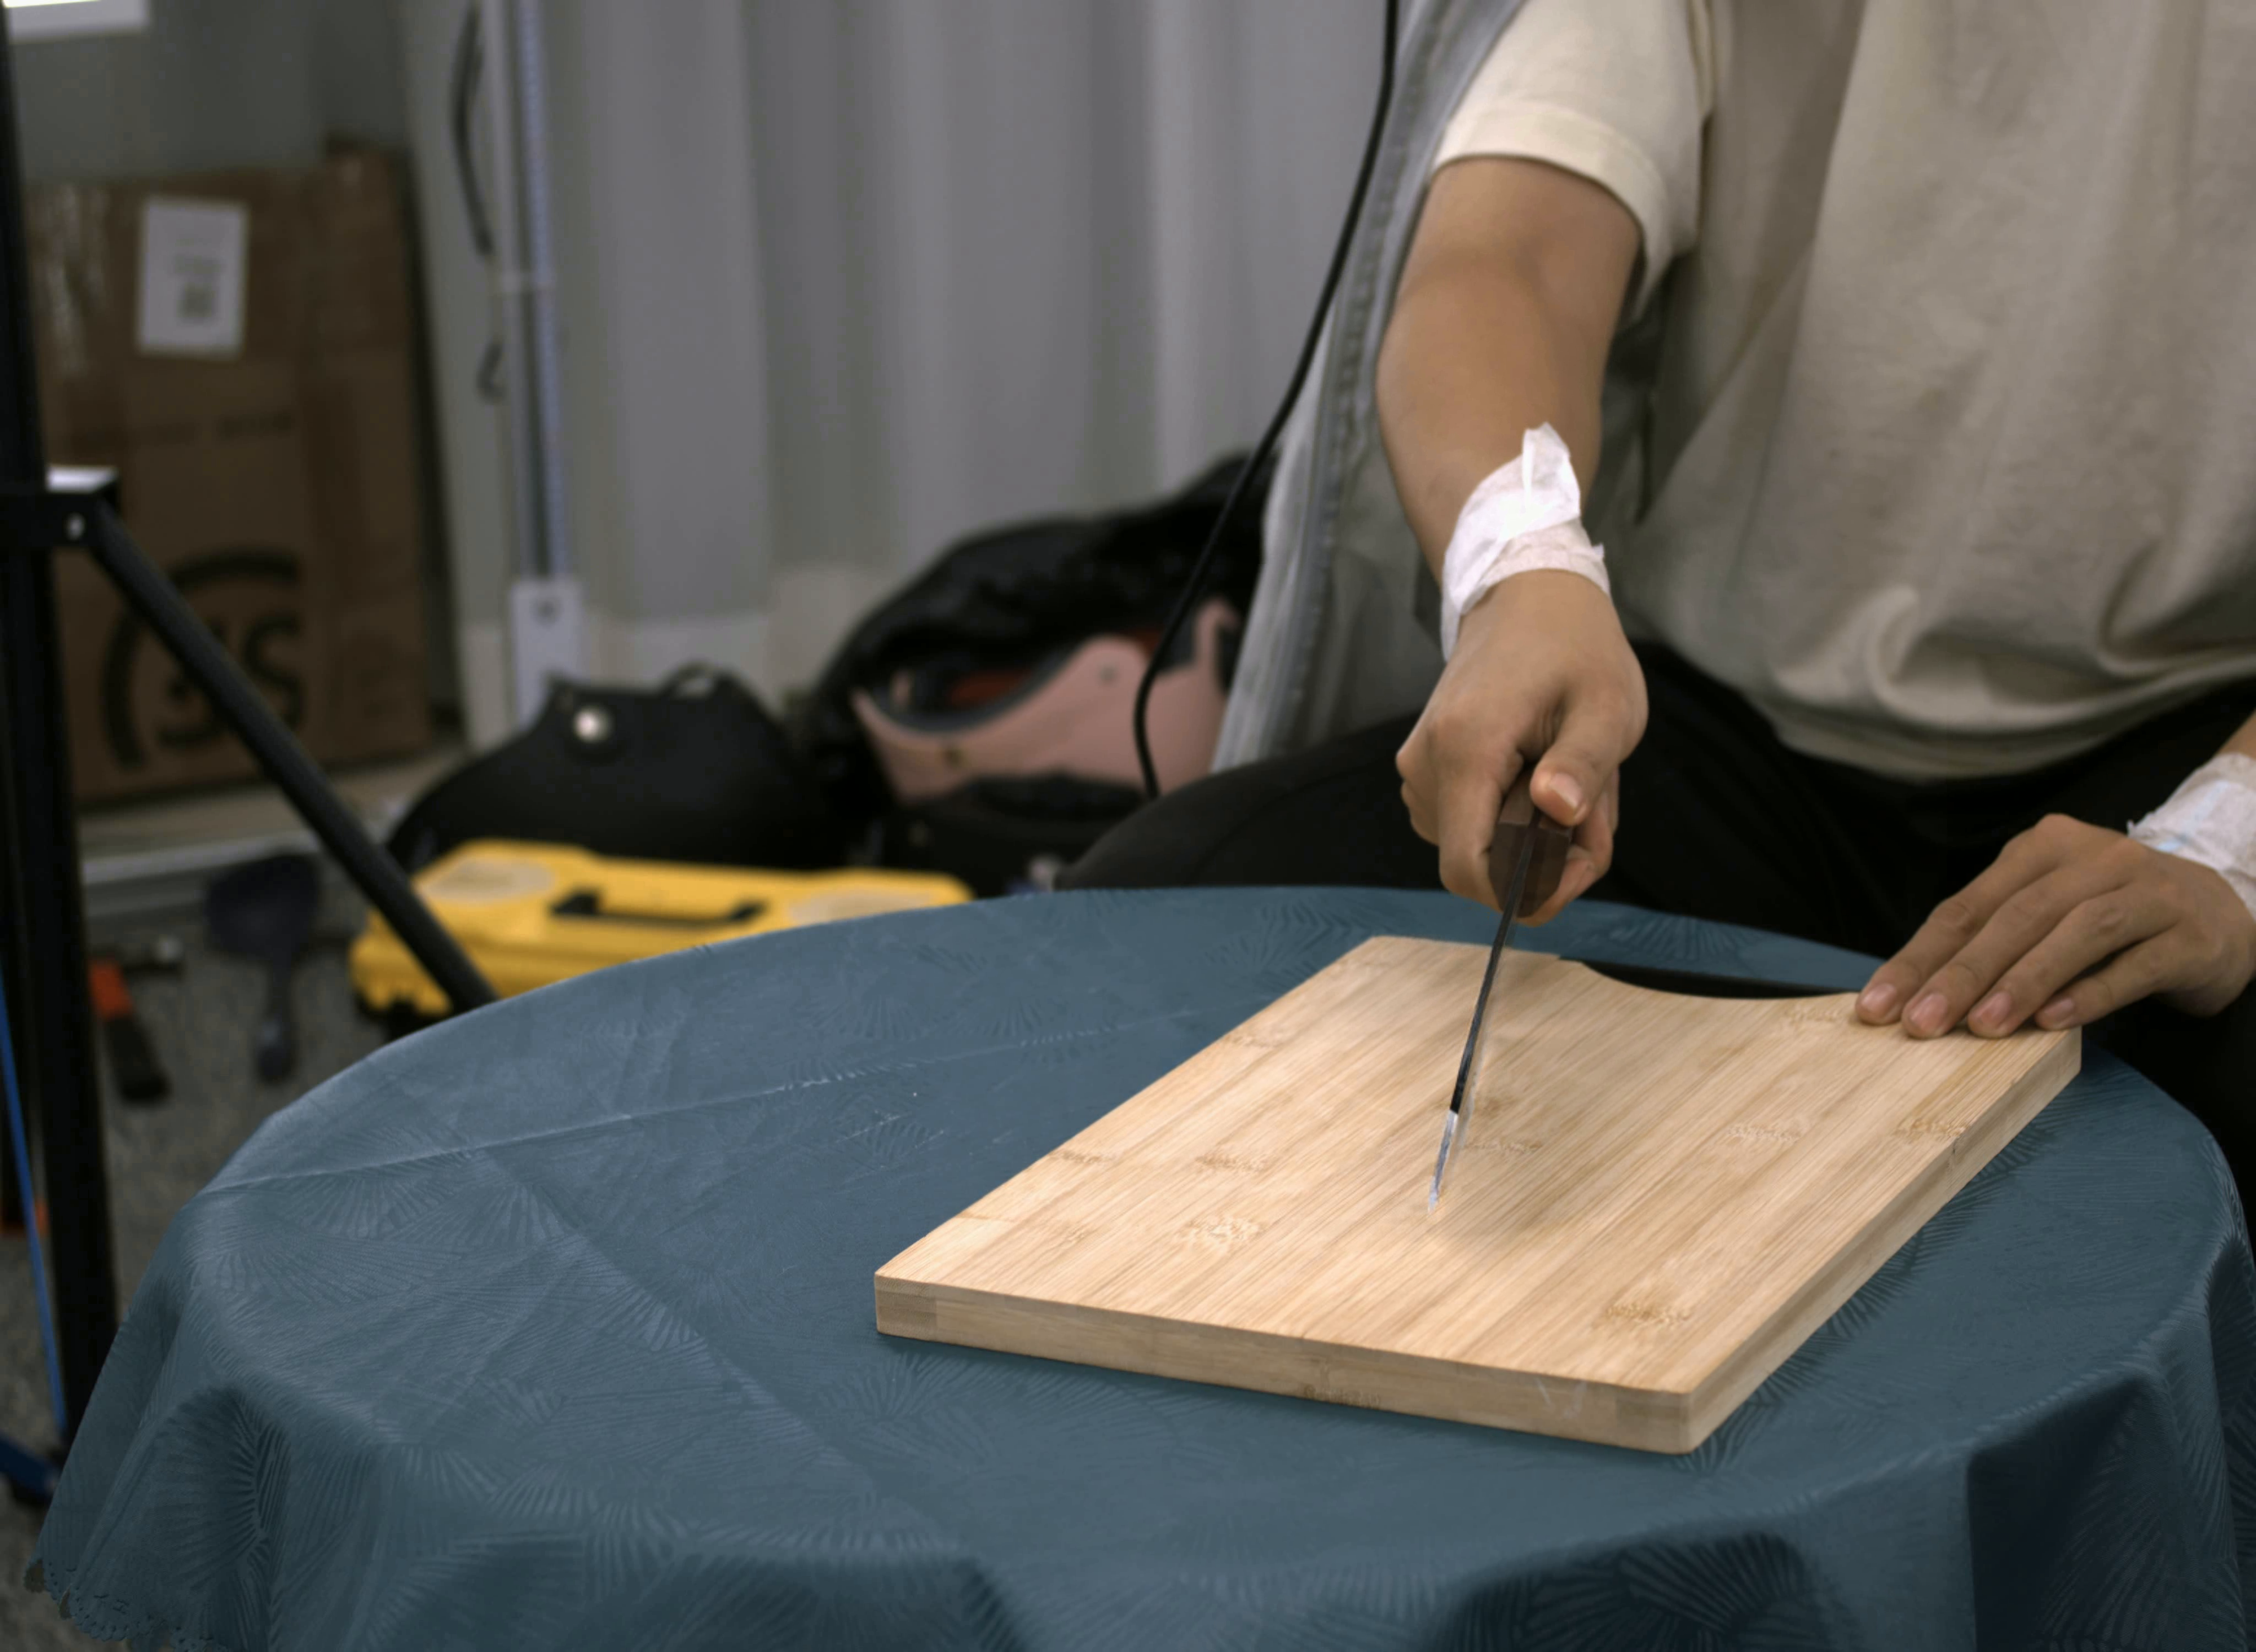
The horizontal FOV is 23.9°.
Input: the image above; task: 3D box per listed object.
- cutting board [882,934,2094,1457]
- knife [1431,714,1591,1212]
[{"bbox_3d":[0.115,0.098,1.542,0.254,0.023,0.343,5,17,26],"label":"cutting board"},{"bbox_3d":[0.112,0.037,1.588,0.024,0.068,0.298,13,21,5],"label":"knife"}]
